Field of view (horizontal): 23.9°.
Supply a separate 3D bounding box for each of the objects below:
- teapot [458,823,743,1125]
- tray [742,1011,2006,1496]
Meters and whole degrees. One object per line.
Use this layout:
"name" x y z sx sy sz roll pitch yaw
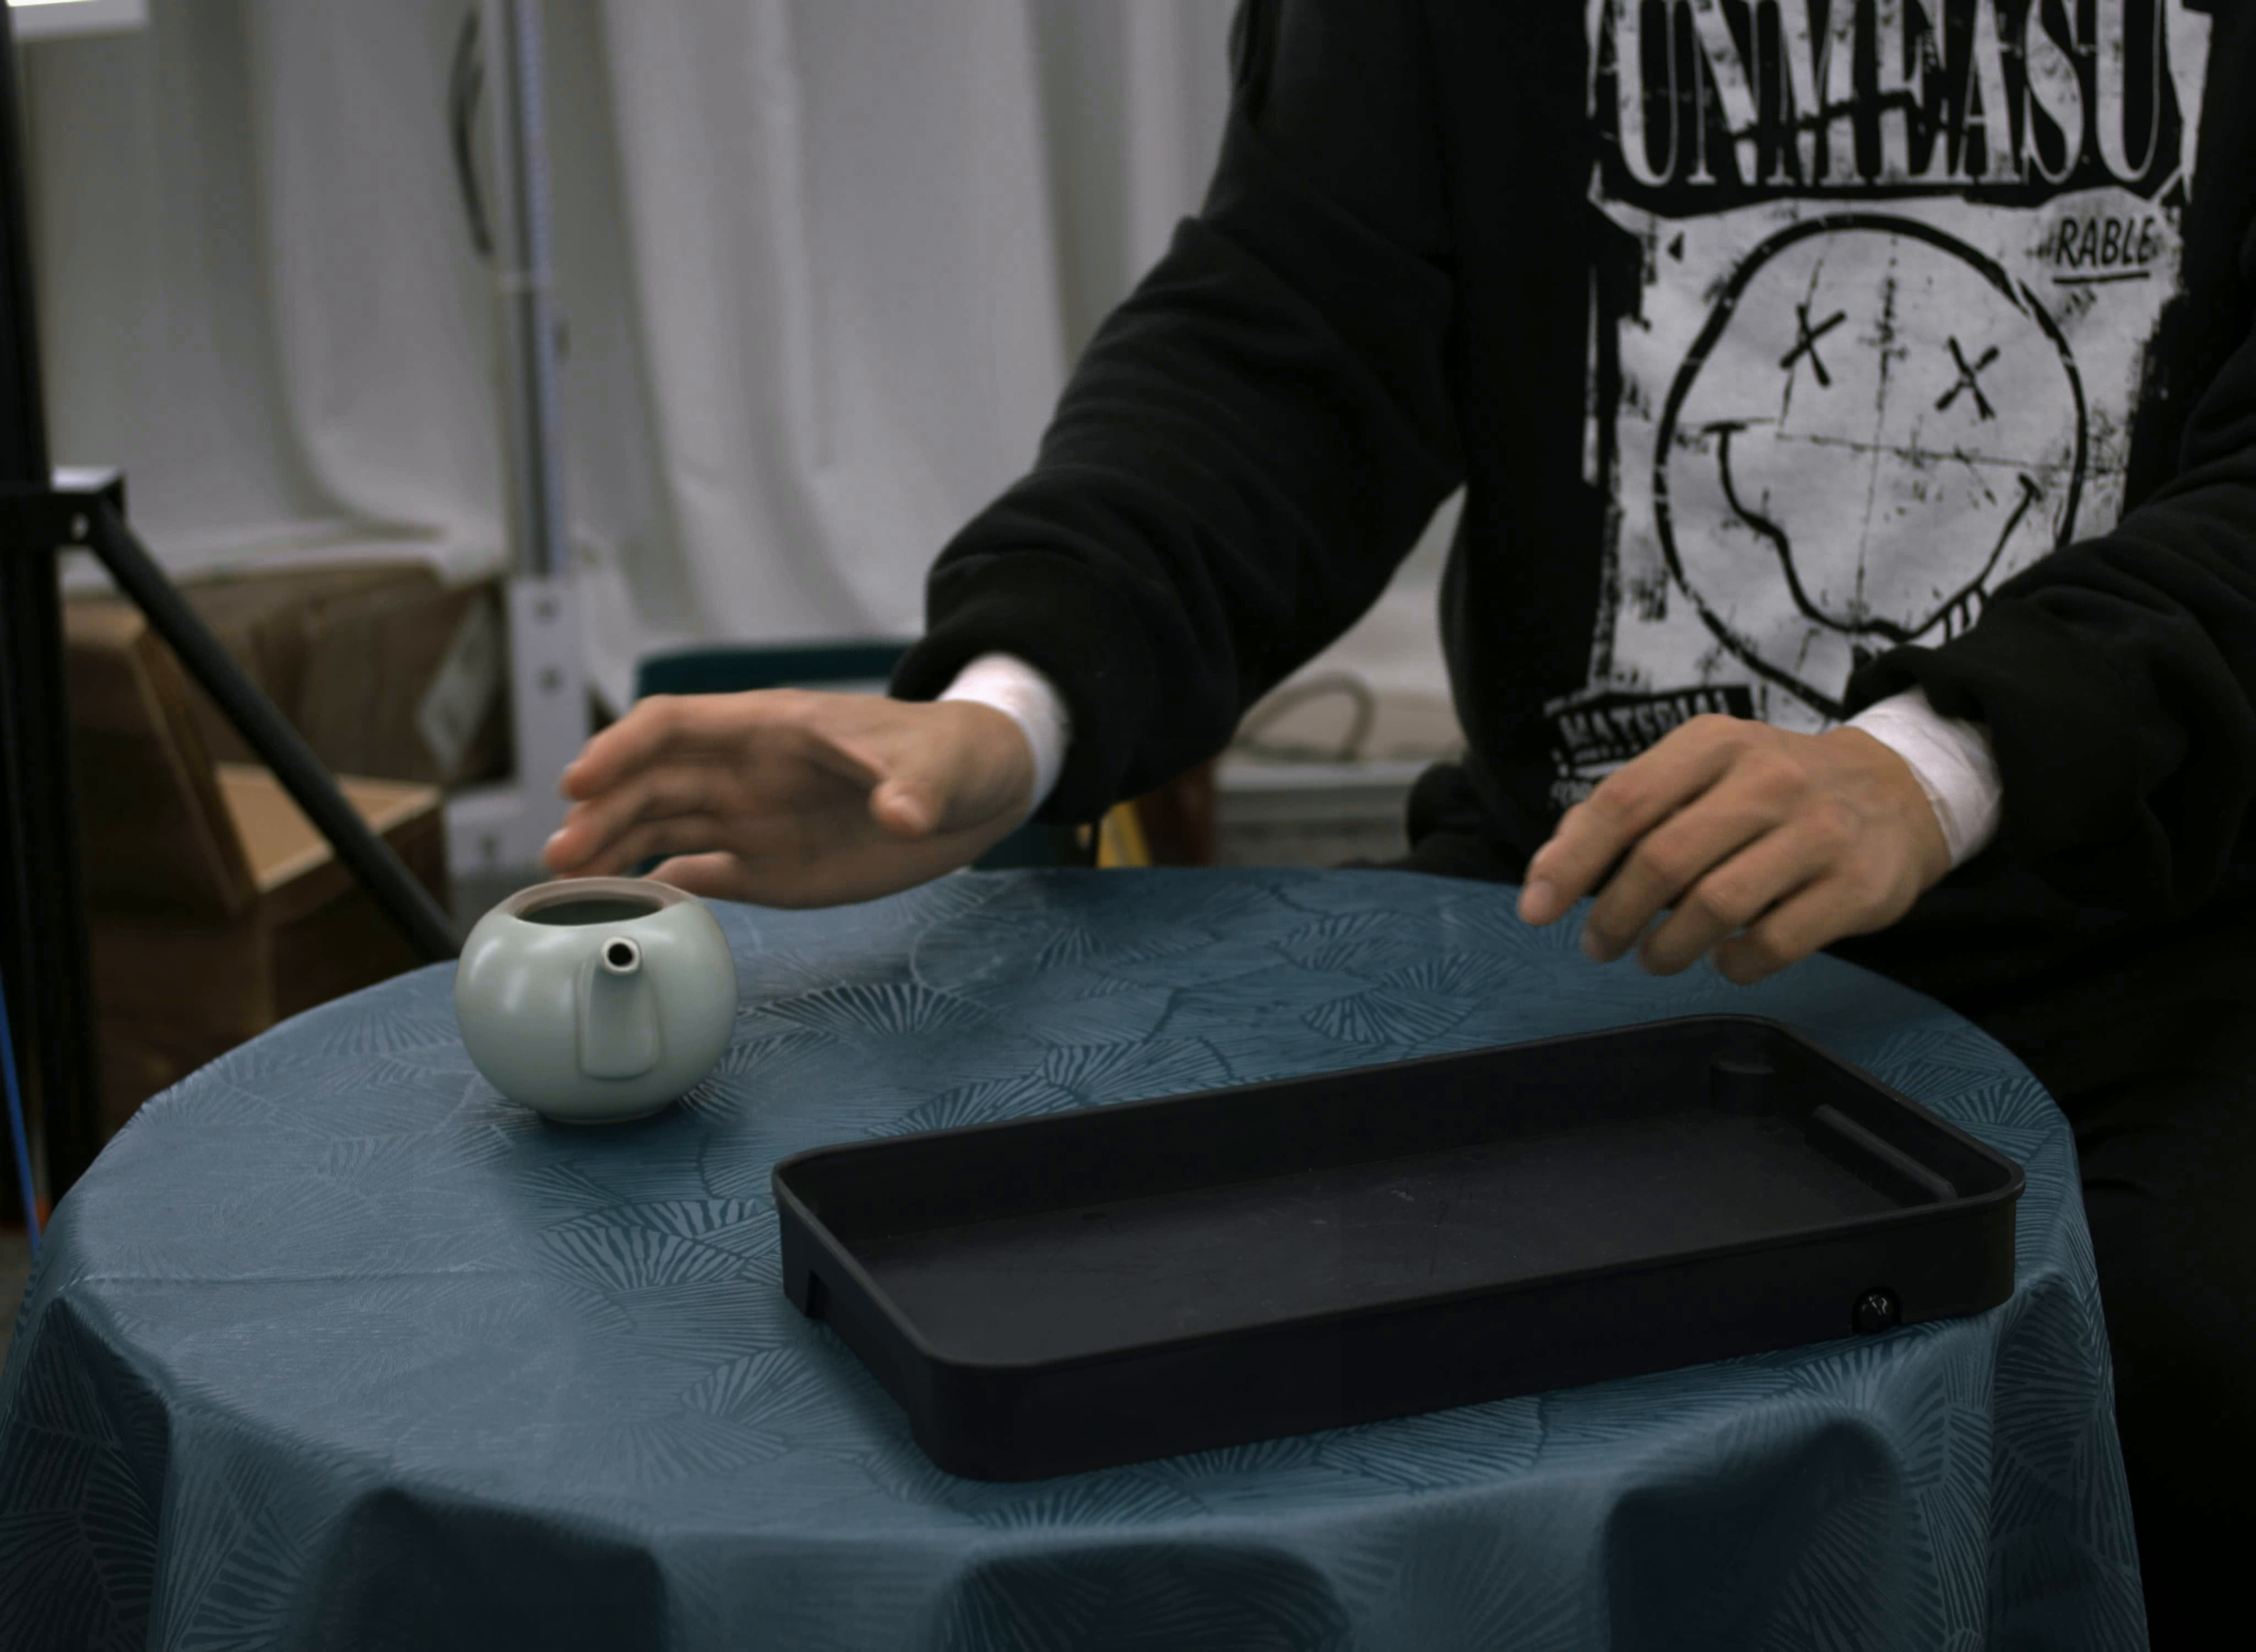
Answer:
"teapot" -0.163 0.051 1.649 0.087 0.075 0.145 -5 17 -10
"tray" 0.067 0.113 1.461 0.312 0.037 0.187 -8 17 -19
